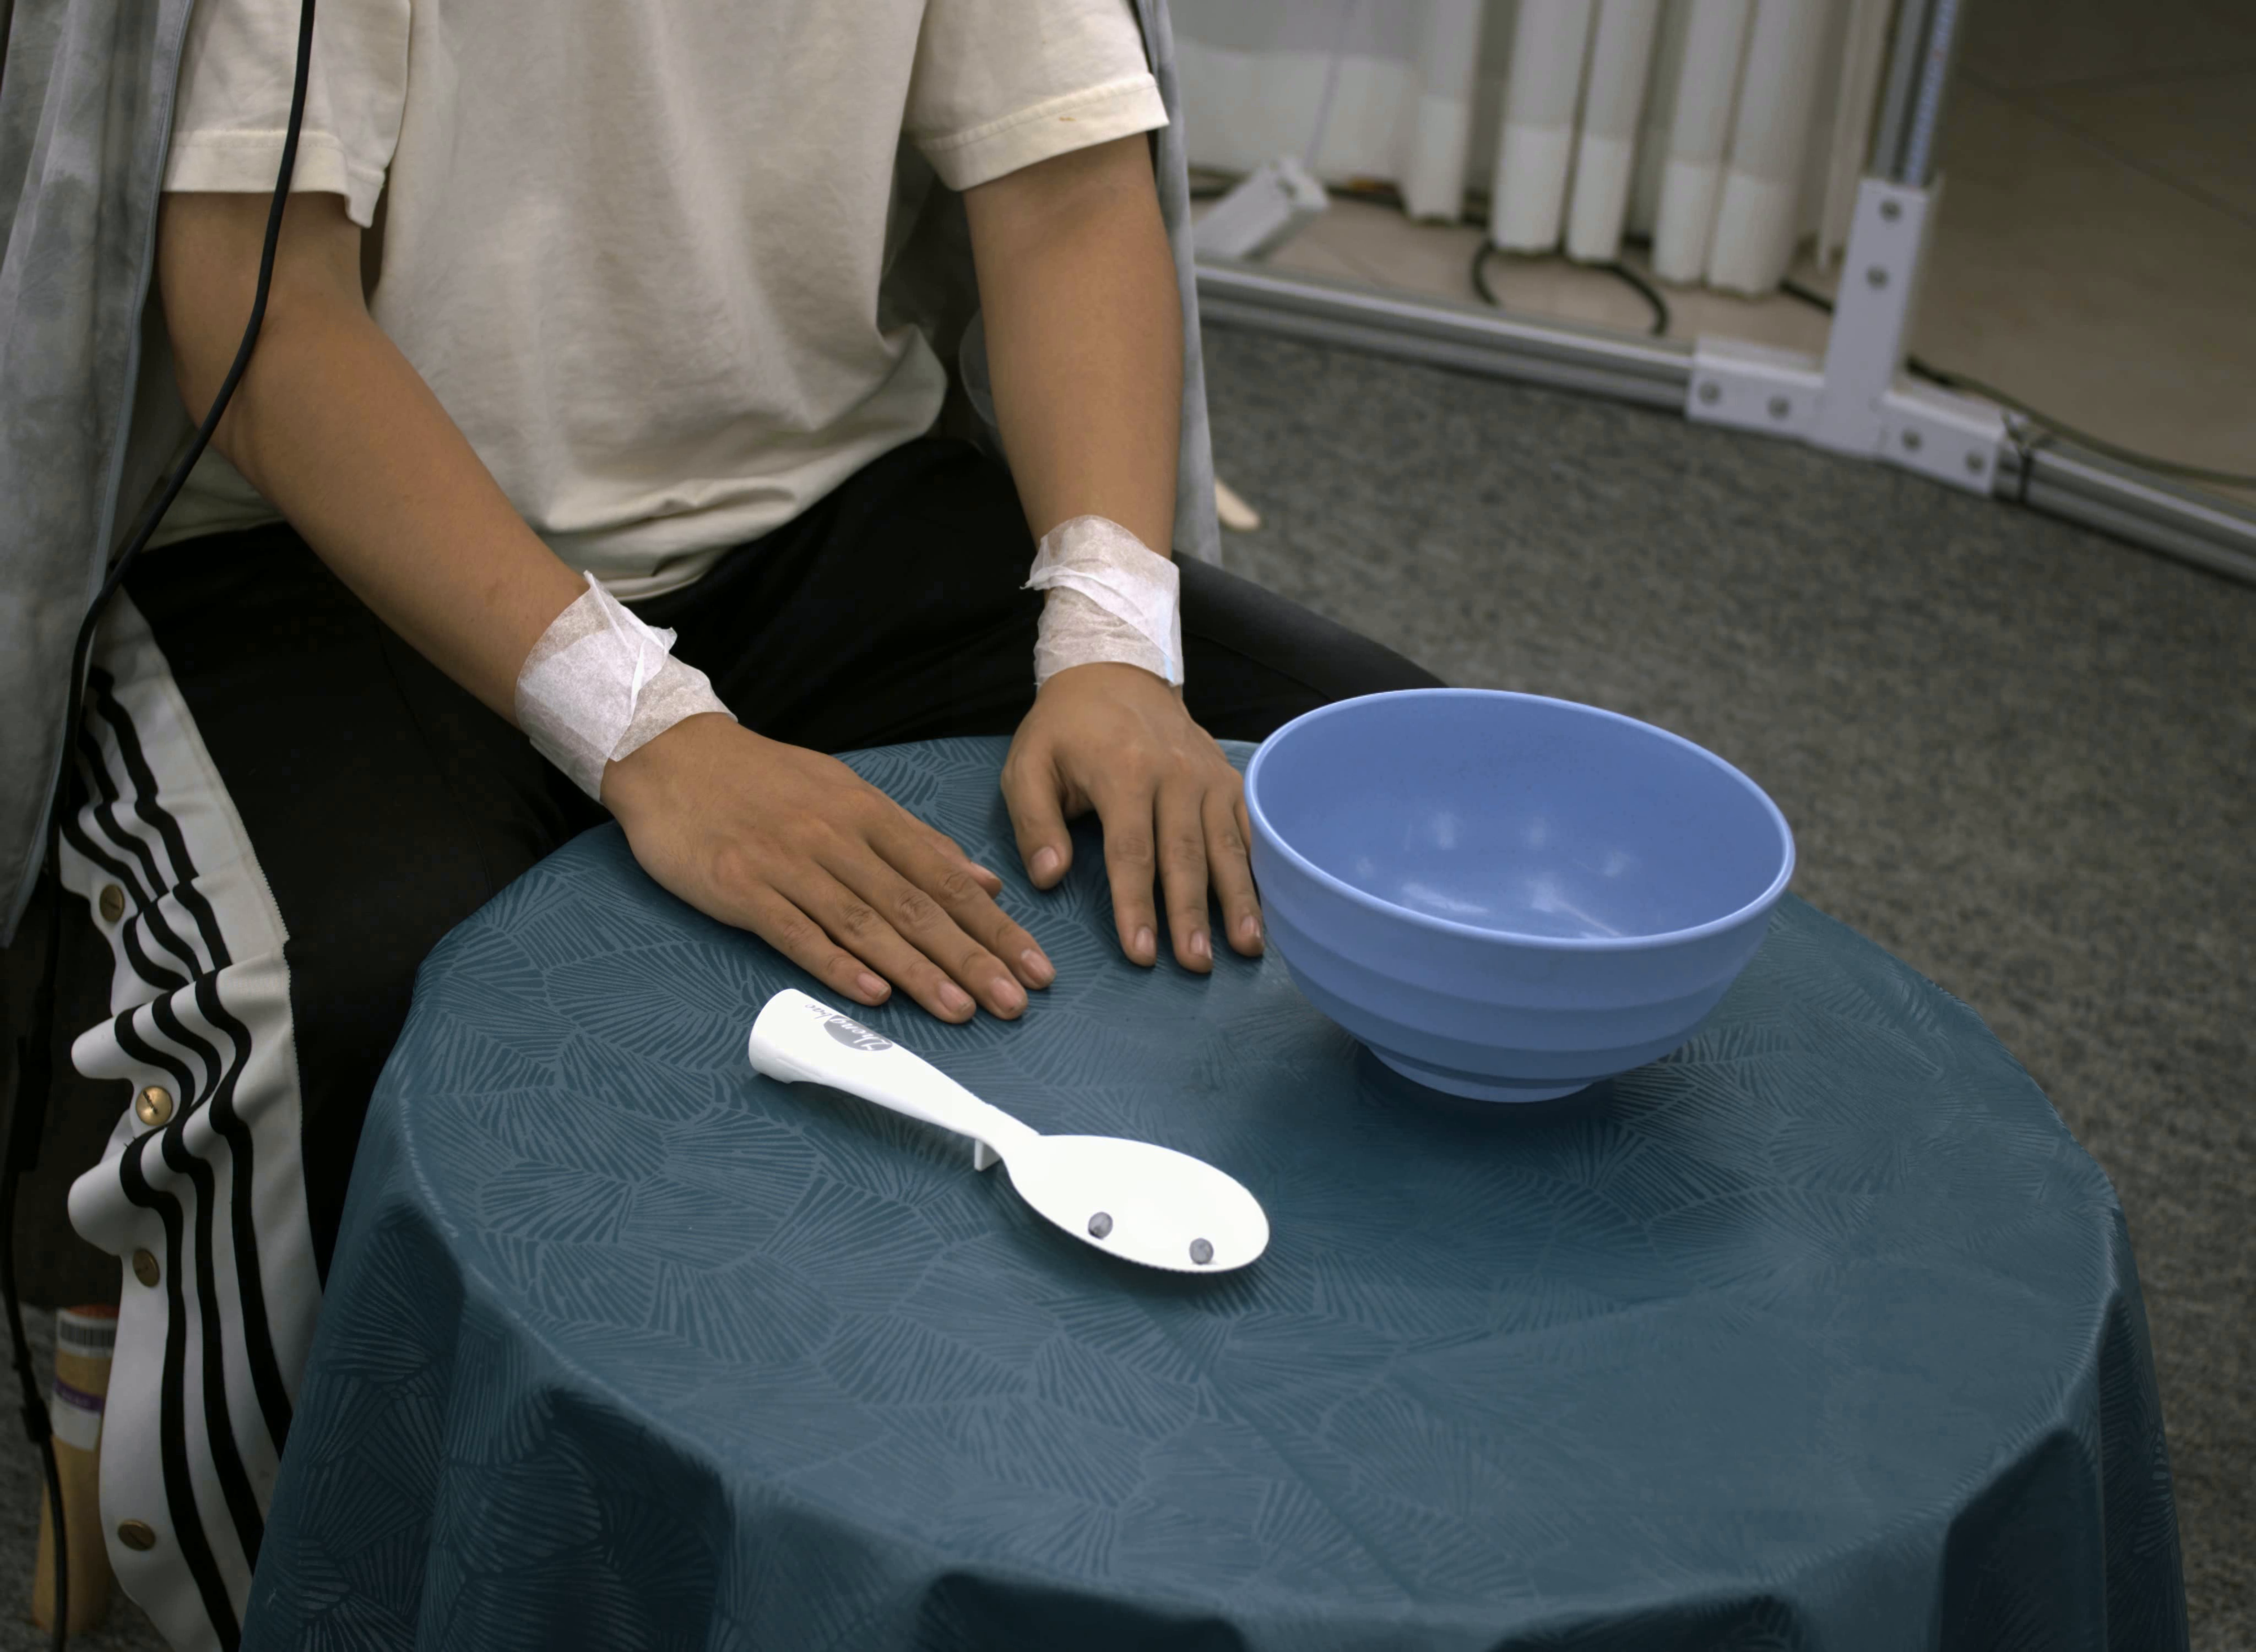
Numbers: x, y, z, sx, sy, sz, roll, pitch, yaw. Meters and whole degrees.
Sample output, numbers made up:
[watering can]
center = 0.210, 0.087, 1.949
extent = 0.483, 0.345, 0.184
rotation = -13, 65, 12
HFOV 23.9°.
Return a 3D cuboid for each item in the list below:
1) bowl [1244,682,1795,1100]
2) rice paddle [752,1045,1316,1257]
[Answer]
[bowl]
center = 0.134, 0.034, 1.904
extent = 0.196, 0.095, 0.198
rotation = 5, 29, -3
[rice paddle]
center = -0.031, 0.113, 1.797
extent = 0.206, 0.029, 0.068
rotation = 14, 15, 23
